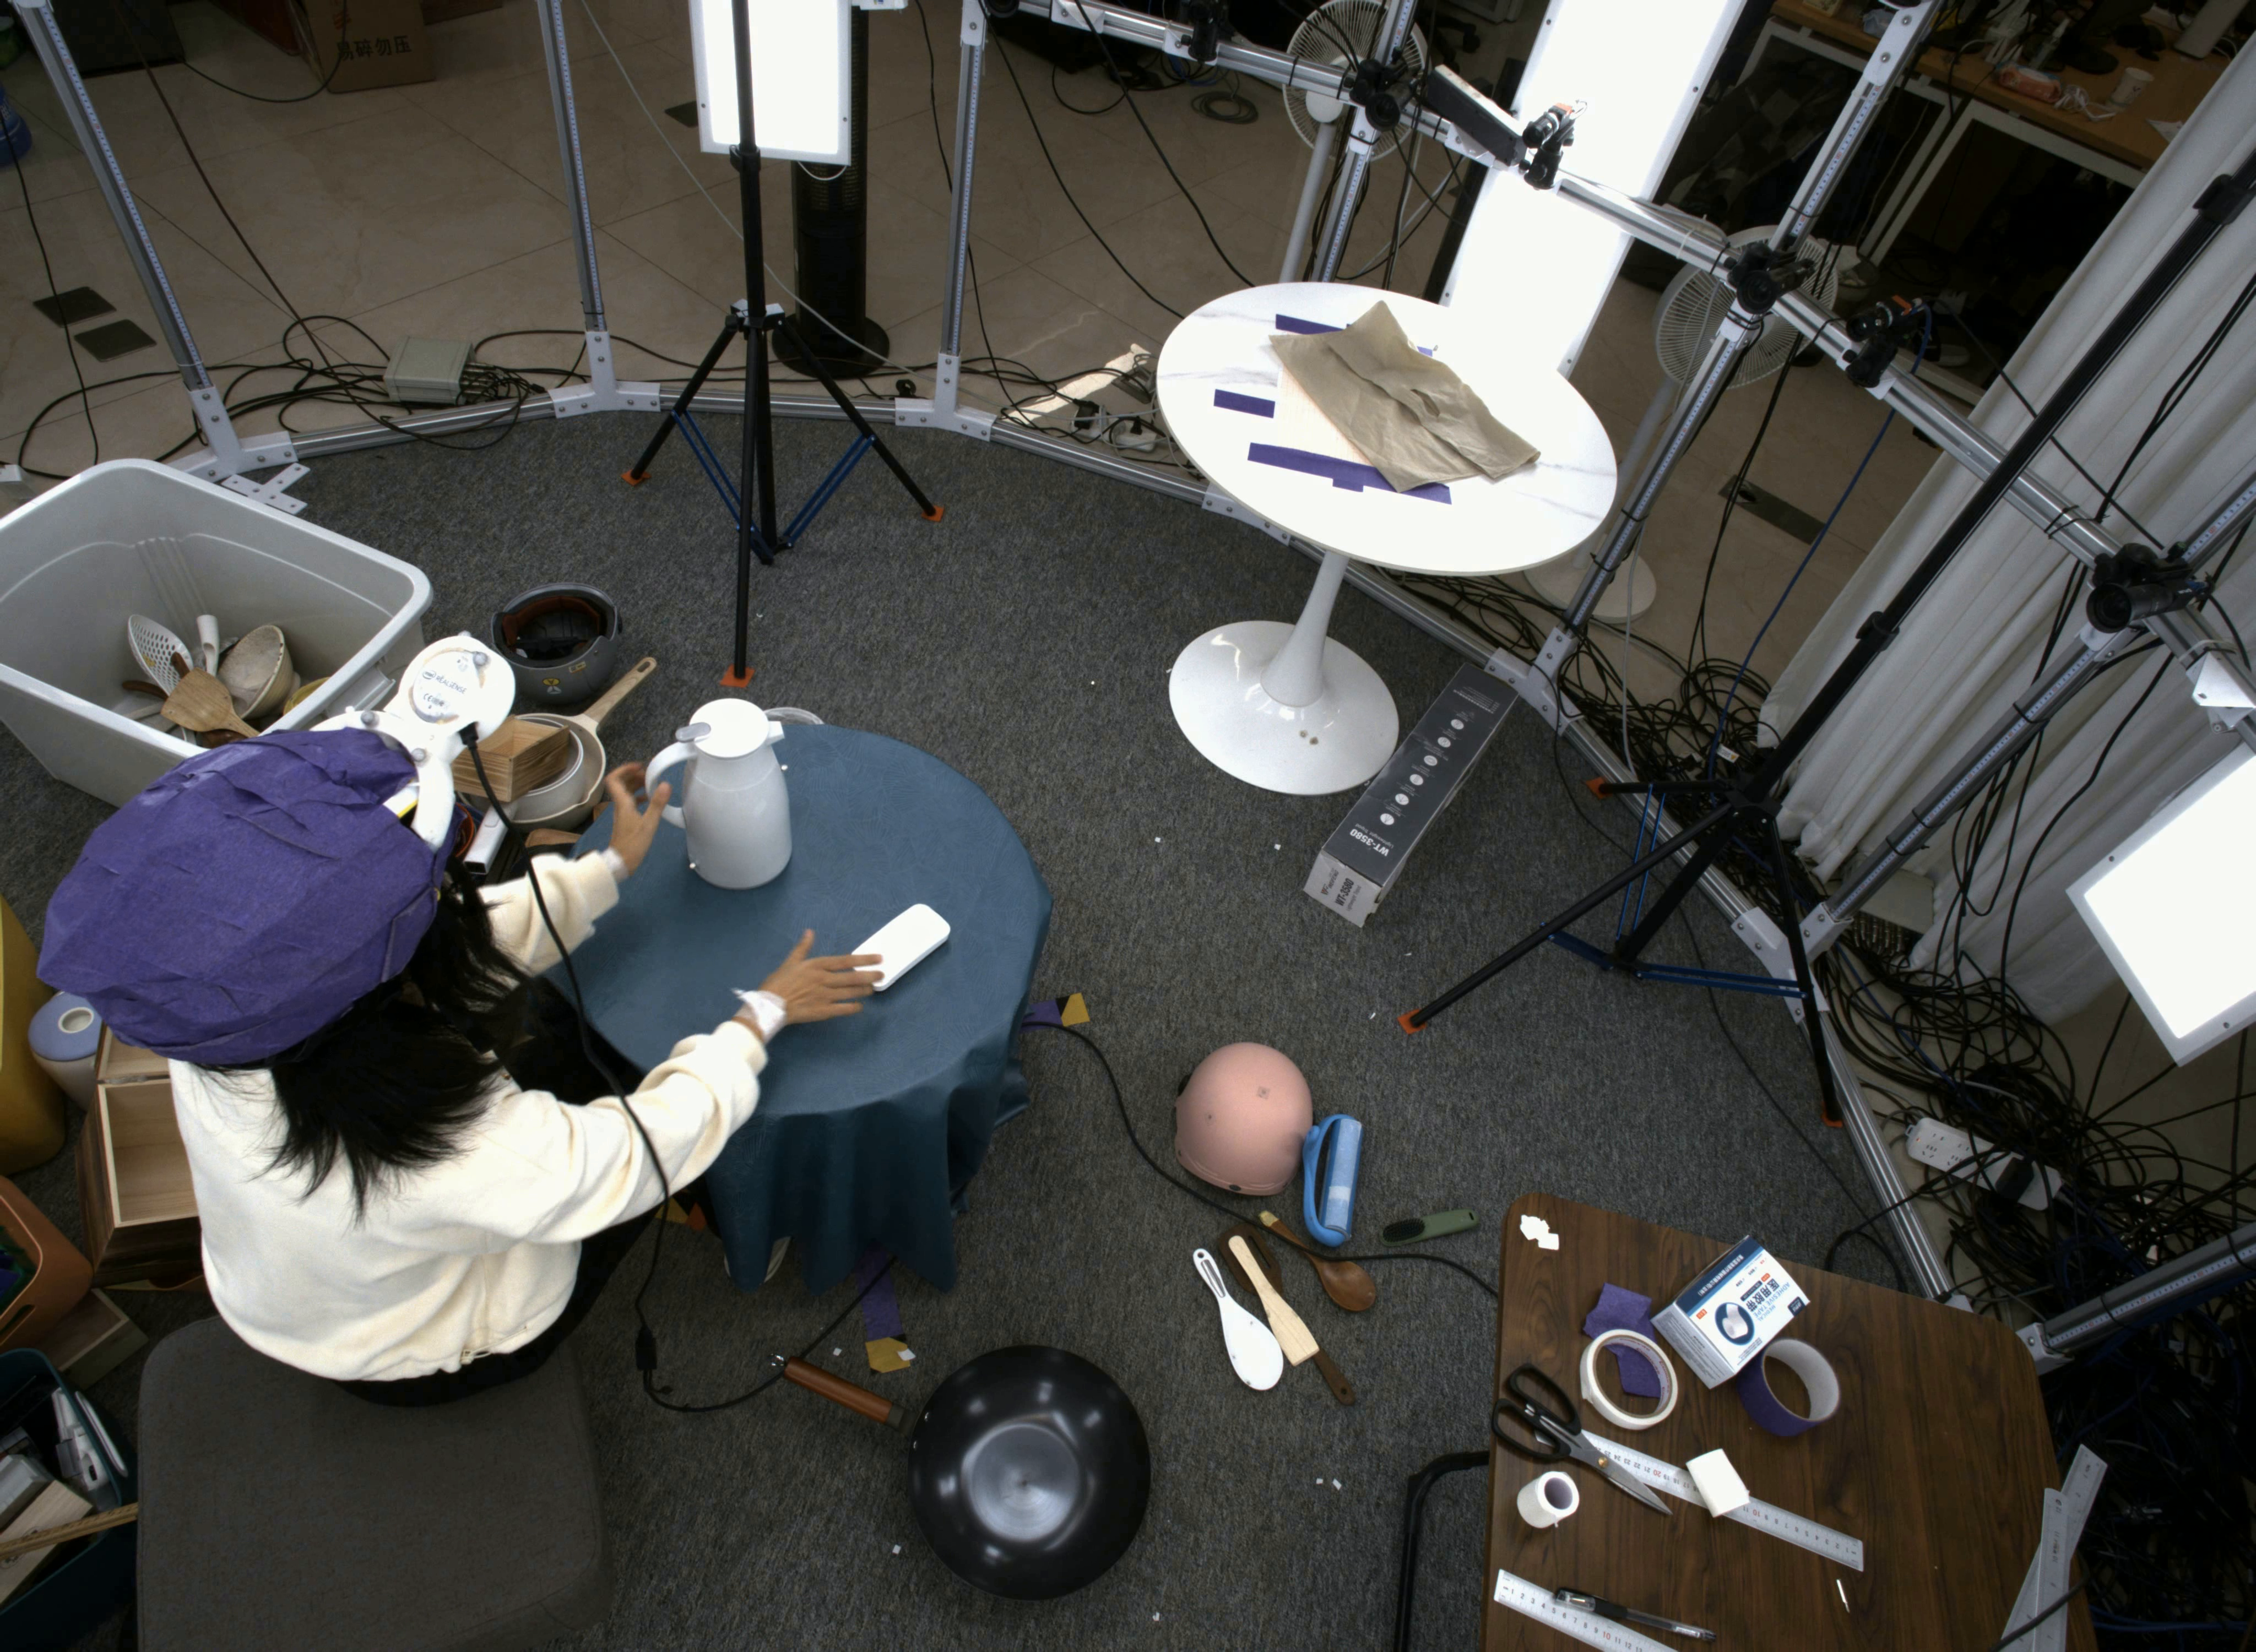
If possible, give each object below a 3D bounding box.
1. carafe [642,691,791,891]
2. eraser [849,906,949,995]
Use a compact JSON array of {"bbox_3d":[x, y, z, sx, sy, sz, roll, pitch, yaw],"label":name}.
[{"bbox_3d":[-0.502,-0.044,1.570,0.168,0.254,0.129,-13,56,-21],"label":"carafe"},{"bbox_3d":[-0.286,0.150,1.622,0.062,0.035,0.131,37,53,18],"label":"eraser"}]
